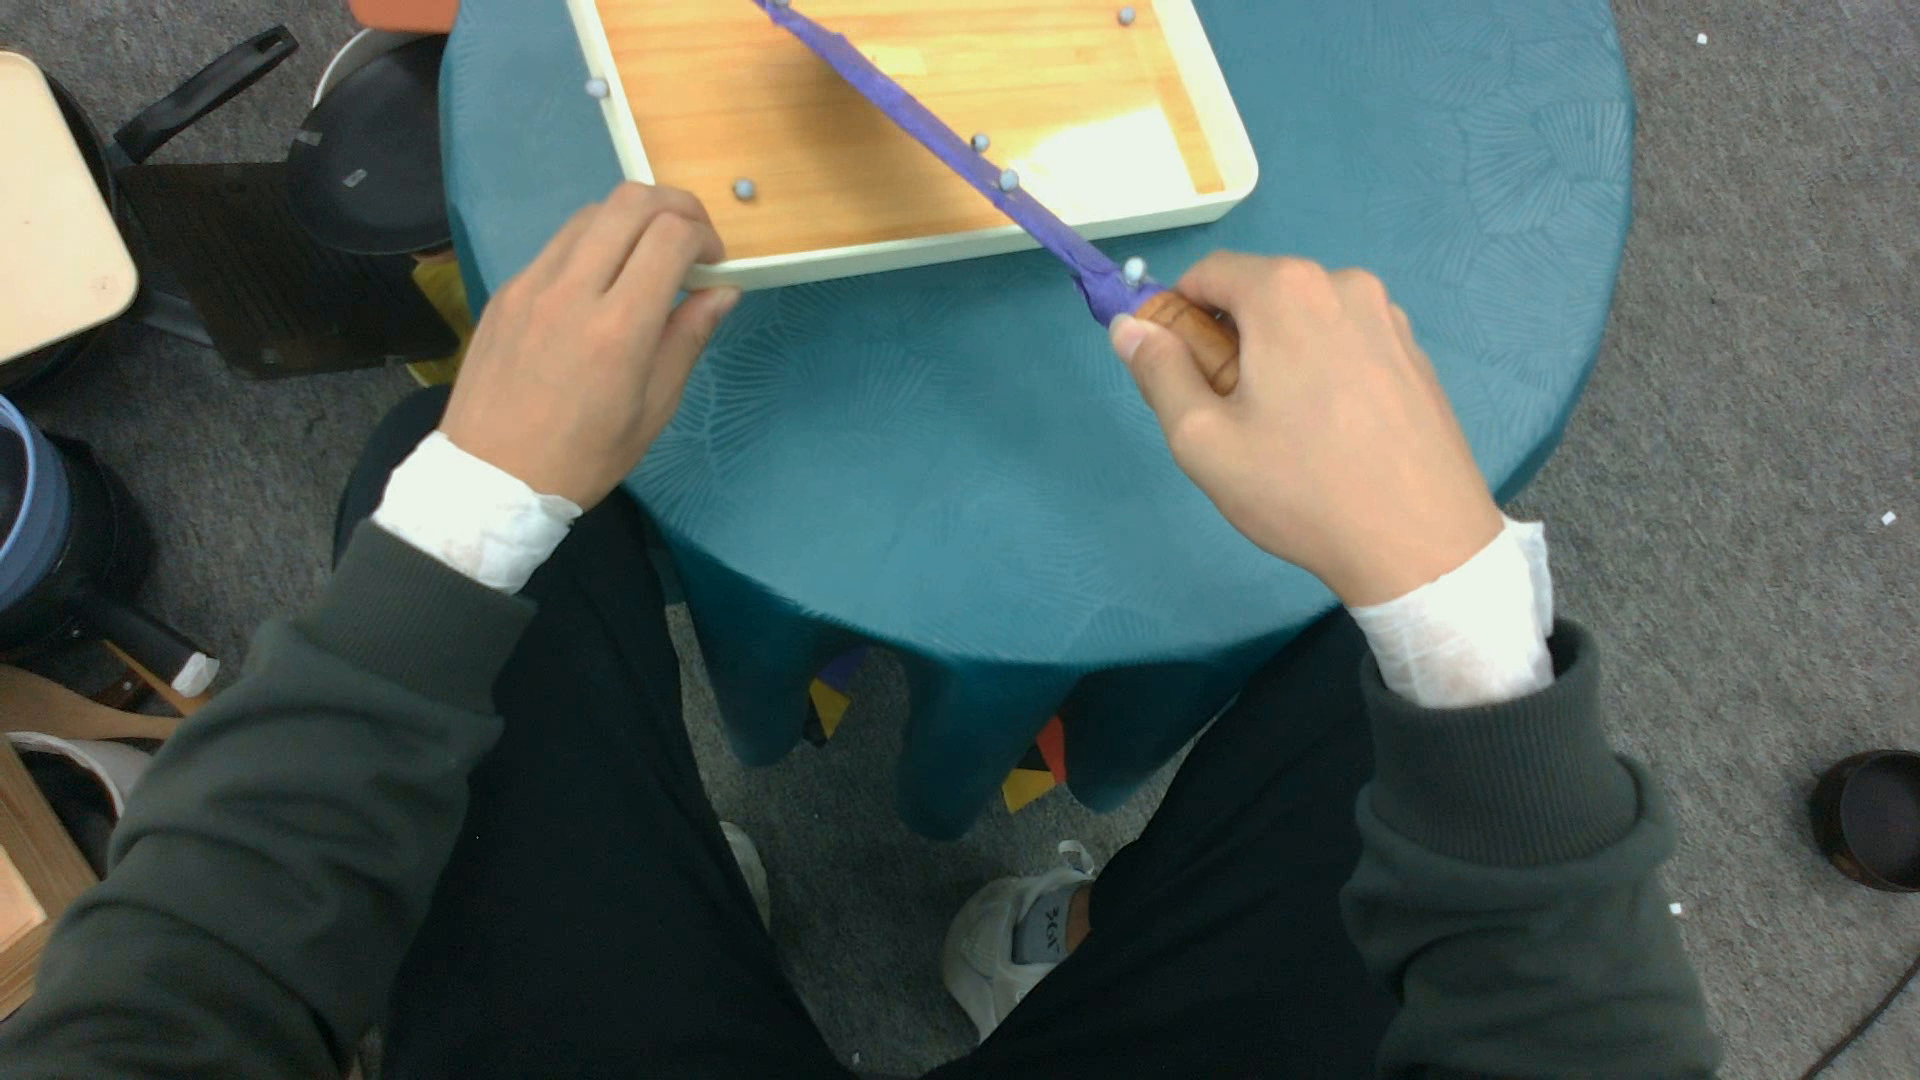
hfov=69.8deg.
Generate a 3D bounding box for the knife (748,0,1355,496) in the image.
[{"bbox_3d":[0.028,-0.130,0.529,0.315,0.104,0.032,44,111,17],"label":"knife"}]

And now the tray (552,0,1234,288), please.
[{"bbox_3d":[-0.025,-0.222,0.627,0.301,0.027,0.192,-15,79,-28],"label":"tray"}]
